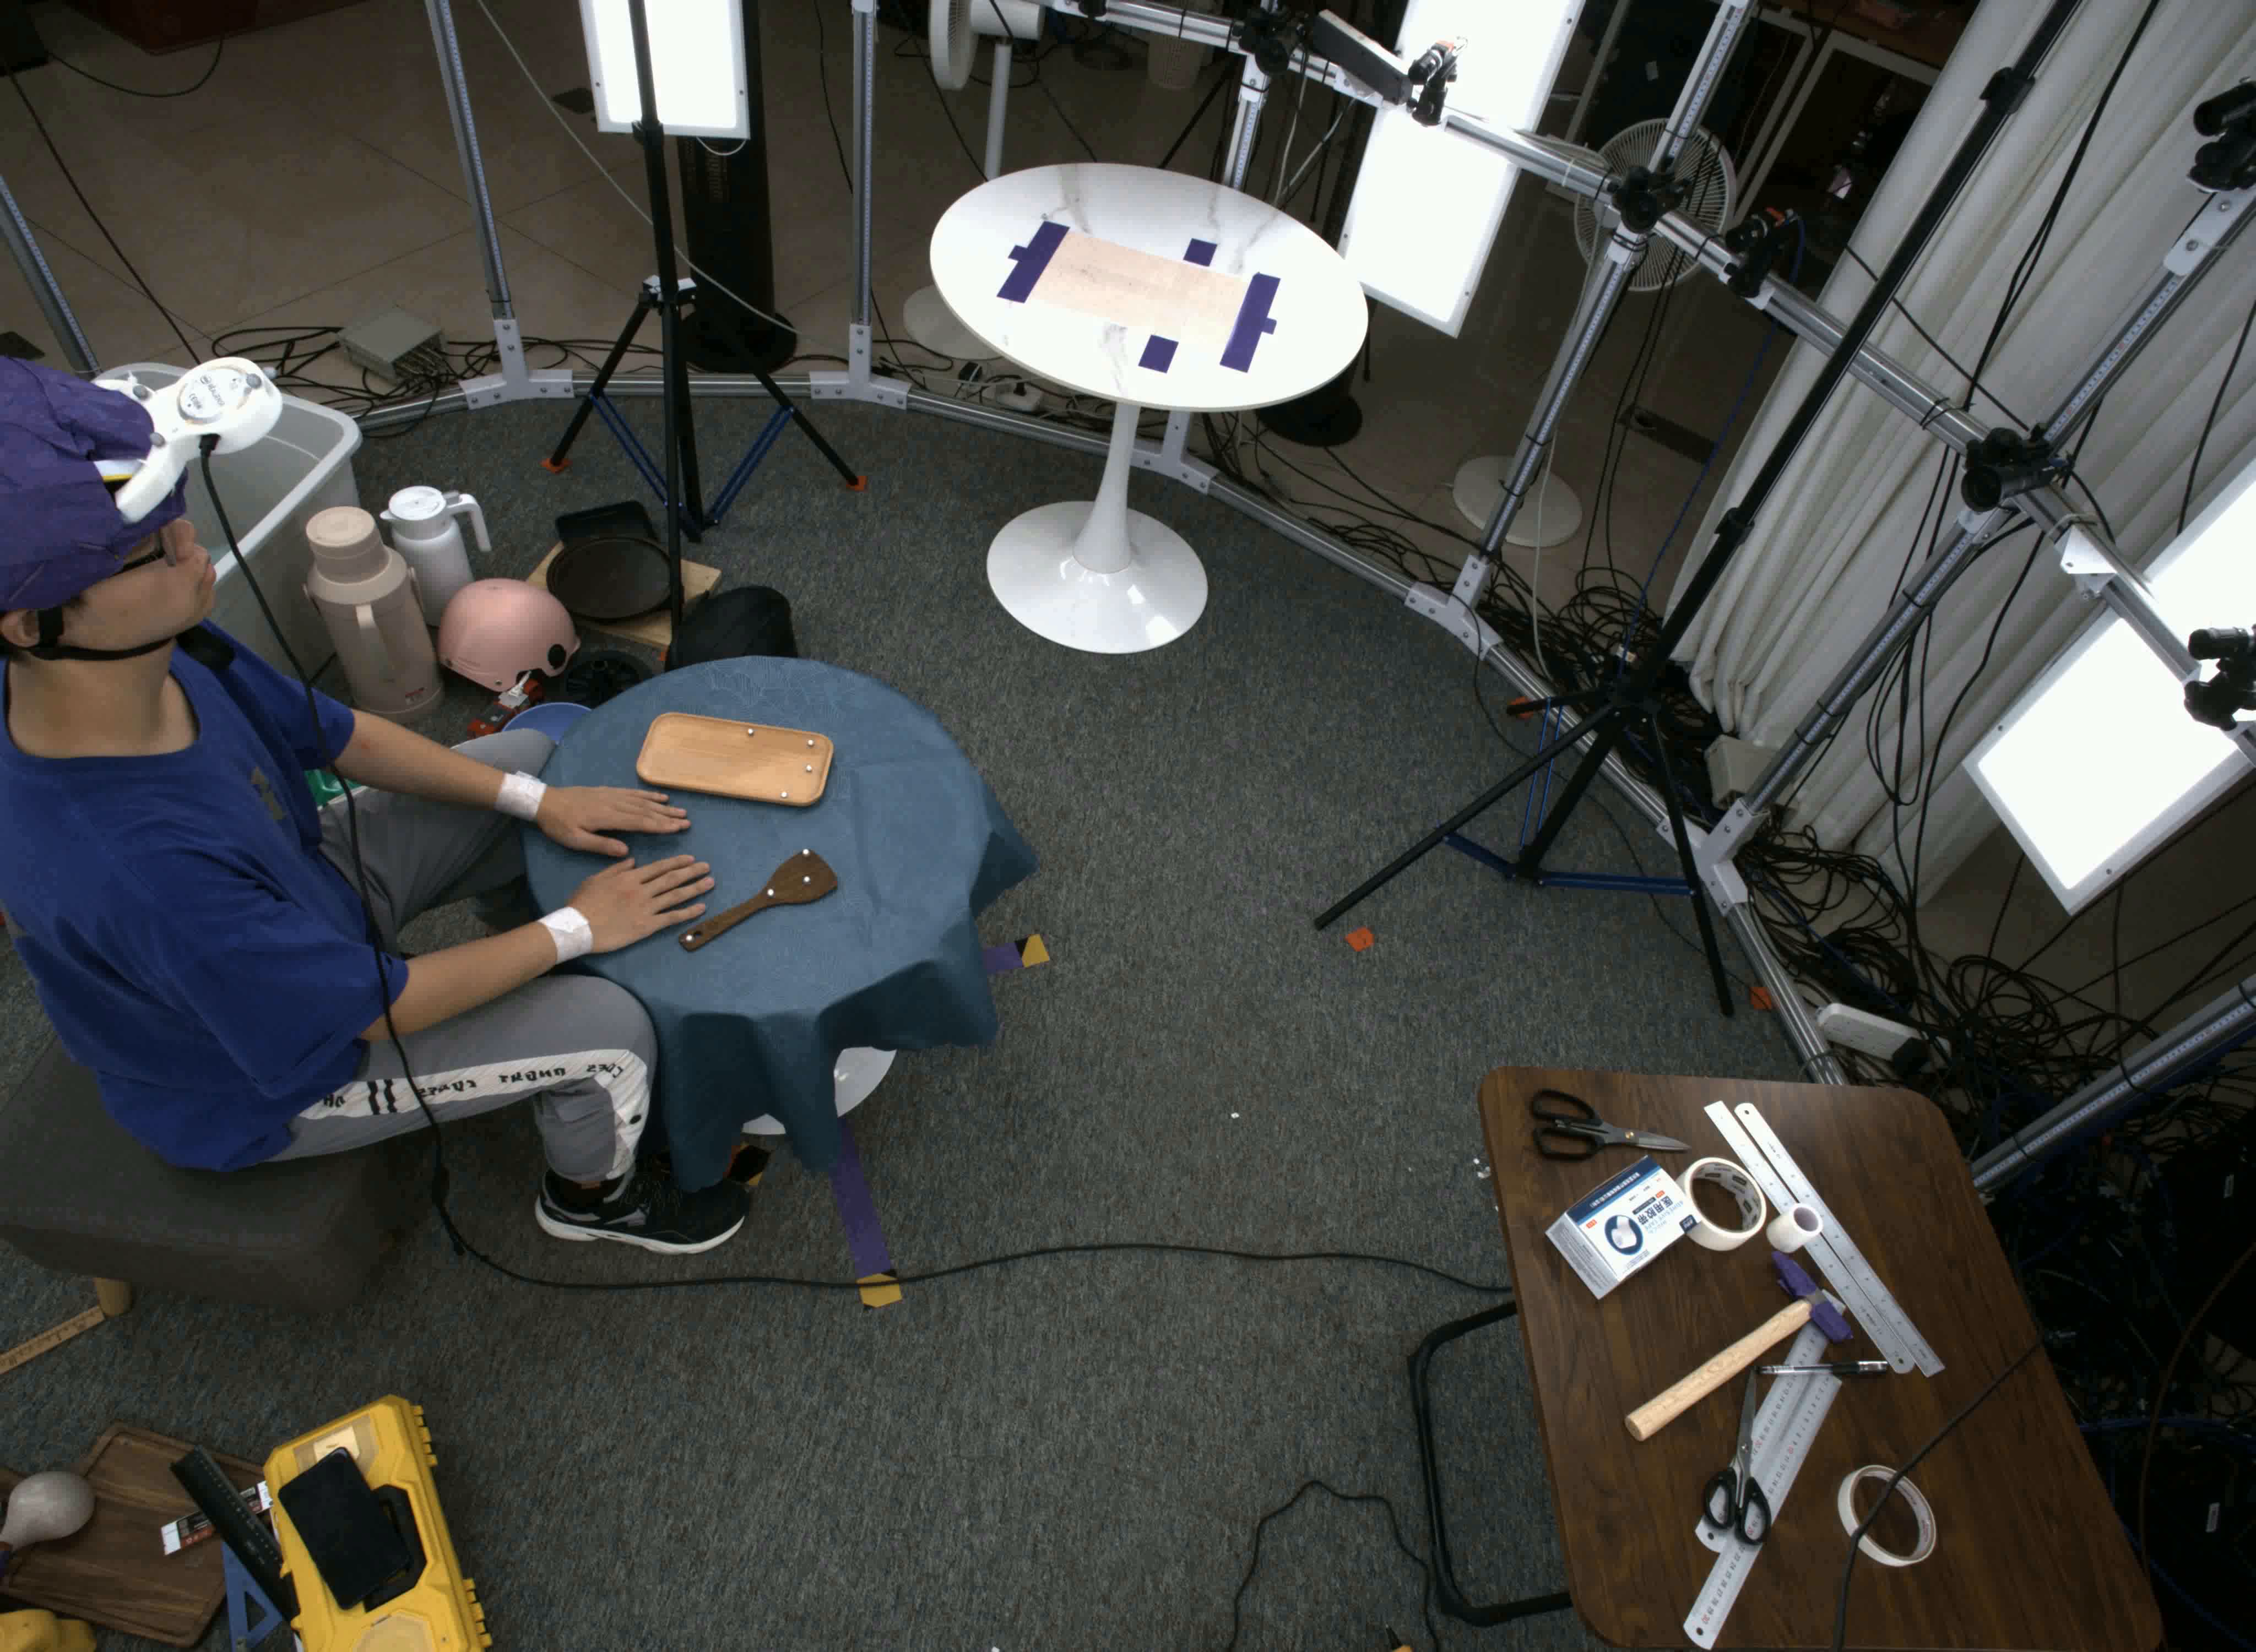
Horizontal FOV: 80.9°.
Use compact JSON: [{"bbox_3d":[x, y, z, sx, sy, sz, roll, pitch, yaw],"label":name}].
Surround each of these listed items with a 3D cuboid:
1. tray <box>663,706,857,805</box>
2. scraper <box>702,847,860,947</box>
[{"bbox_3d":[-0.504,-0.097,1.775,0.249,0.023,0.128,10,50,-6],"label":"tray"},{"bbox_3d":[-0.445,0.094,1.653,0.212,0.011,0.074,-30,65,-30],"label":"scraper"}]
